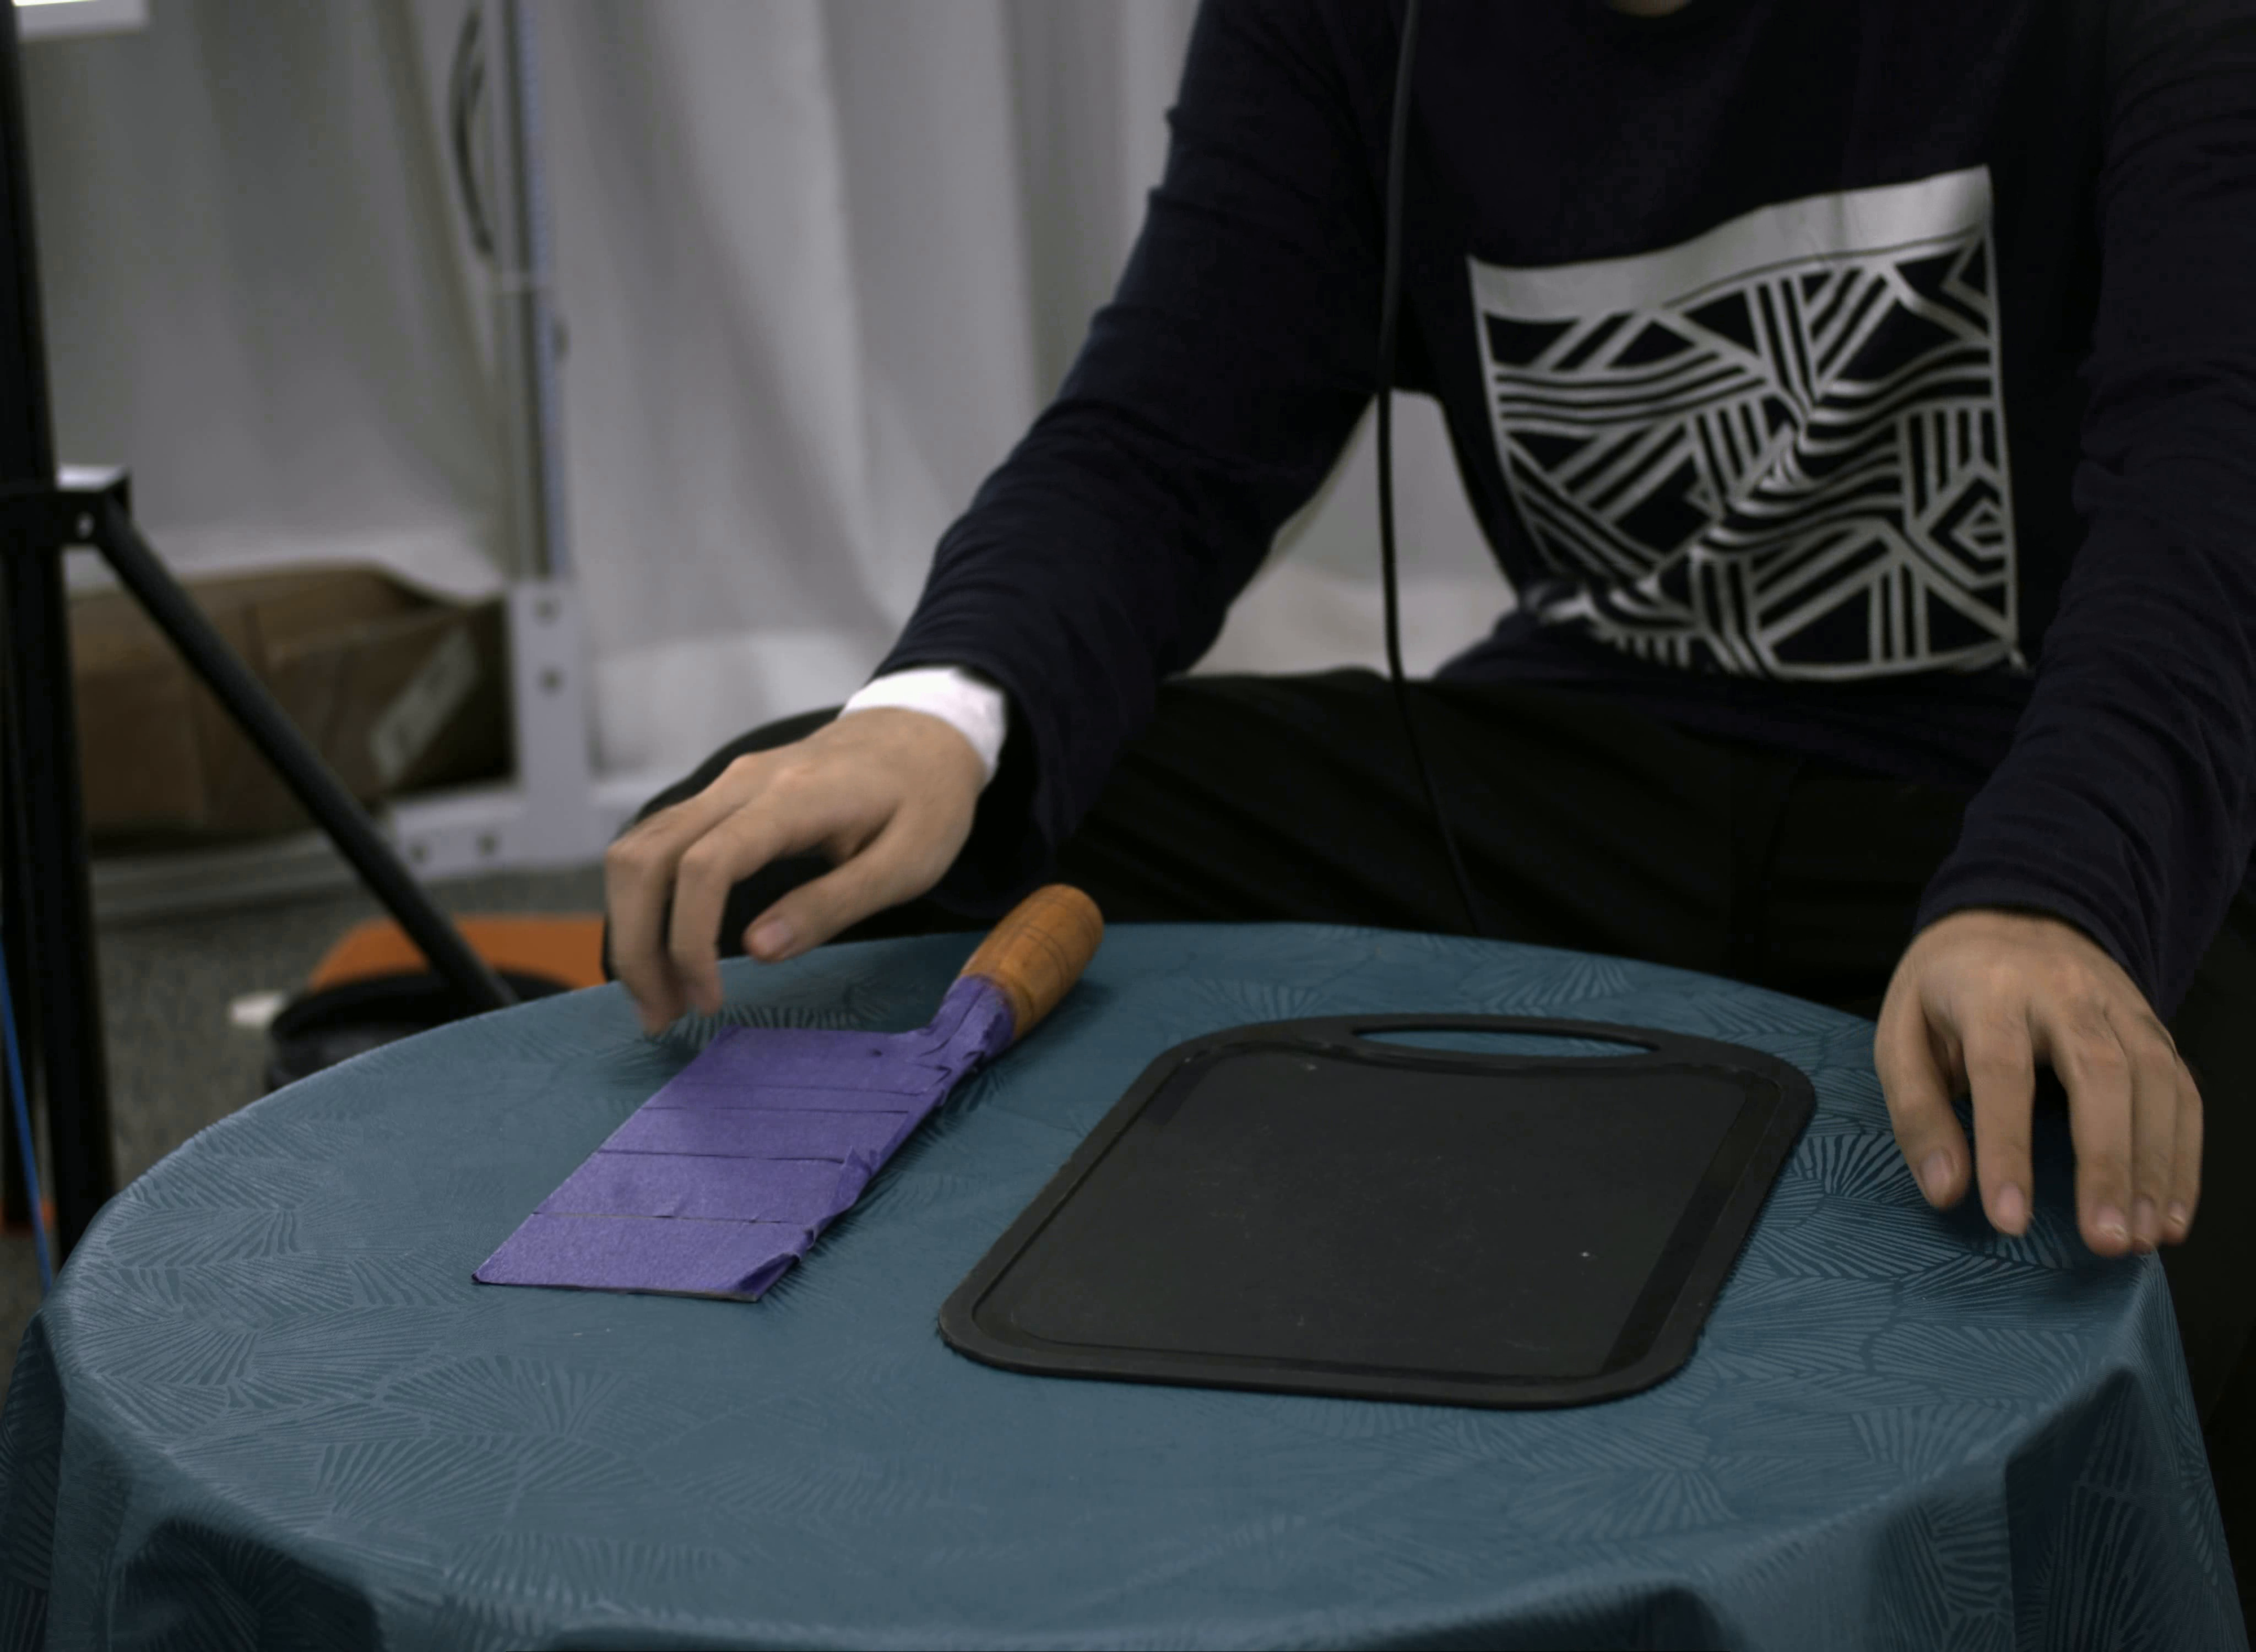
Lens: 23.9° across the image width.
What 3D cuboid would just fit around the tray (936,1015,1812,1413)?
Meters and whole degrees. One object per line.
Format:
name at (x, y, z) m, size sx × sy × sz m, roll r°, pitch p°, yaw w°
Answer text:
tray at (0.080, 0.104, 1.549) m, size 0.213 × 0.010 × 0.322 m, roll 3°, pitch 16°, yaw 17°

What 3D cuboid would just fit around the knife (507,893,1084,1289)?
knife at (-0.099, 0.078, 1.635) m, size 0.105 × 0.032 × 0.312 m, roll 3°, pitch 17°, yaw 17°
